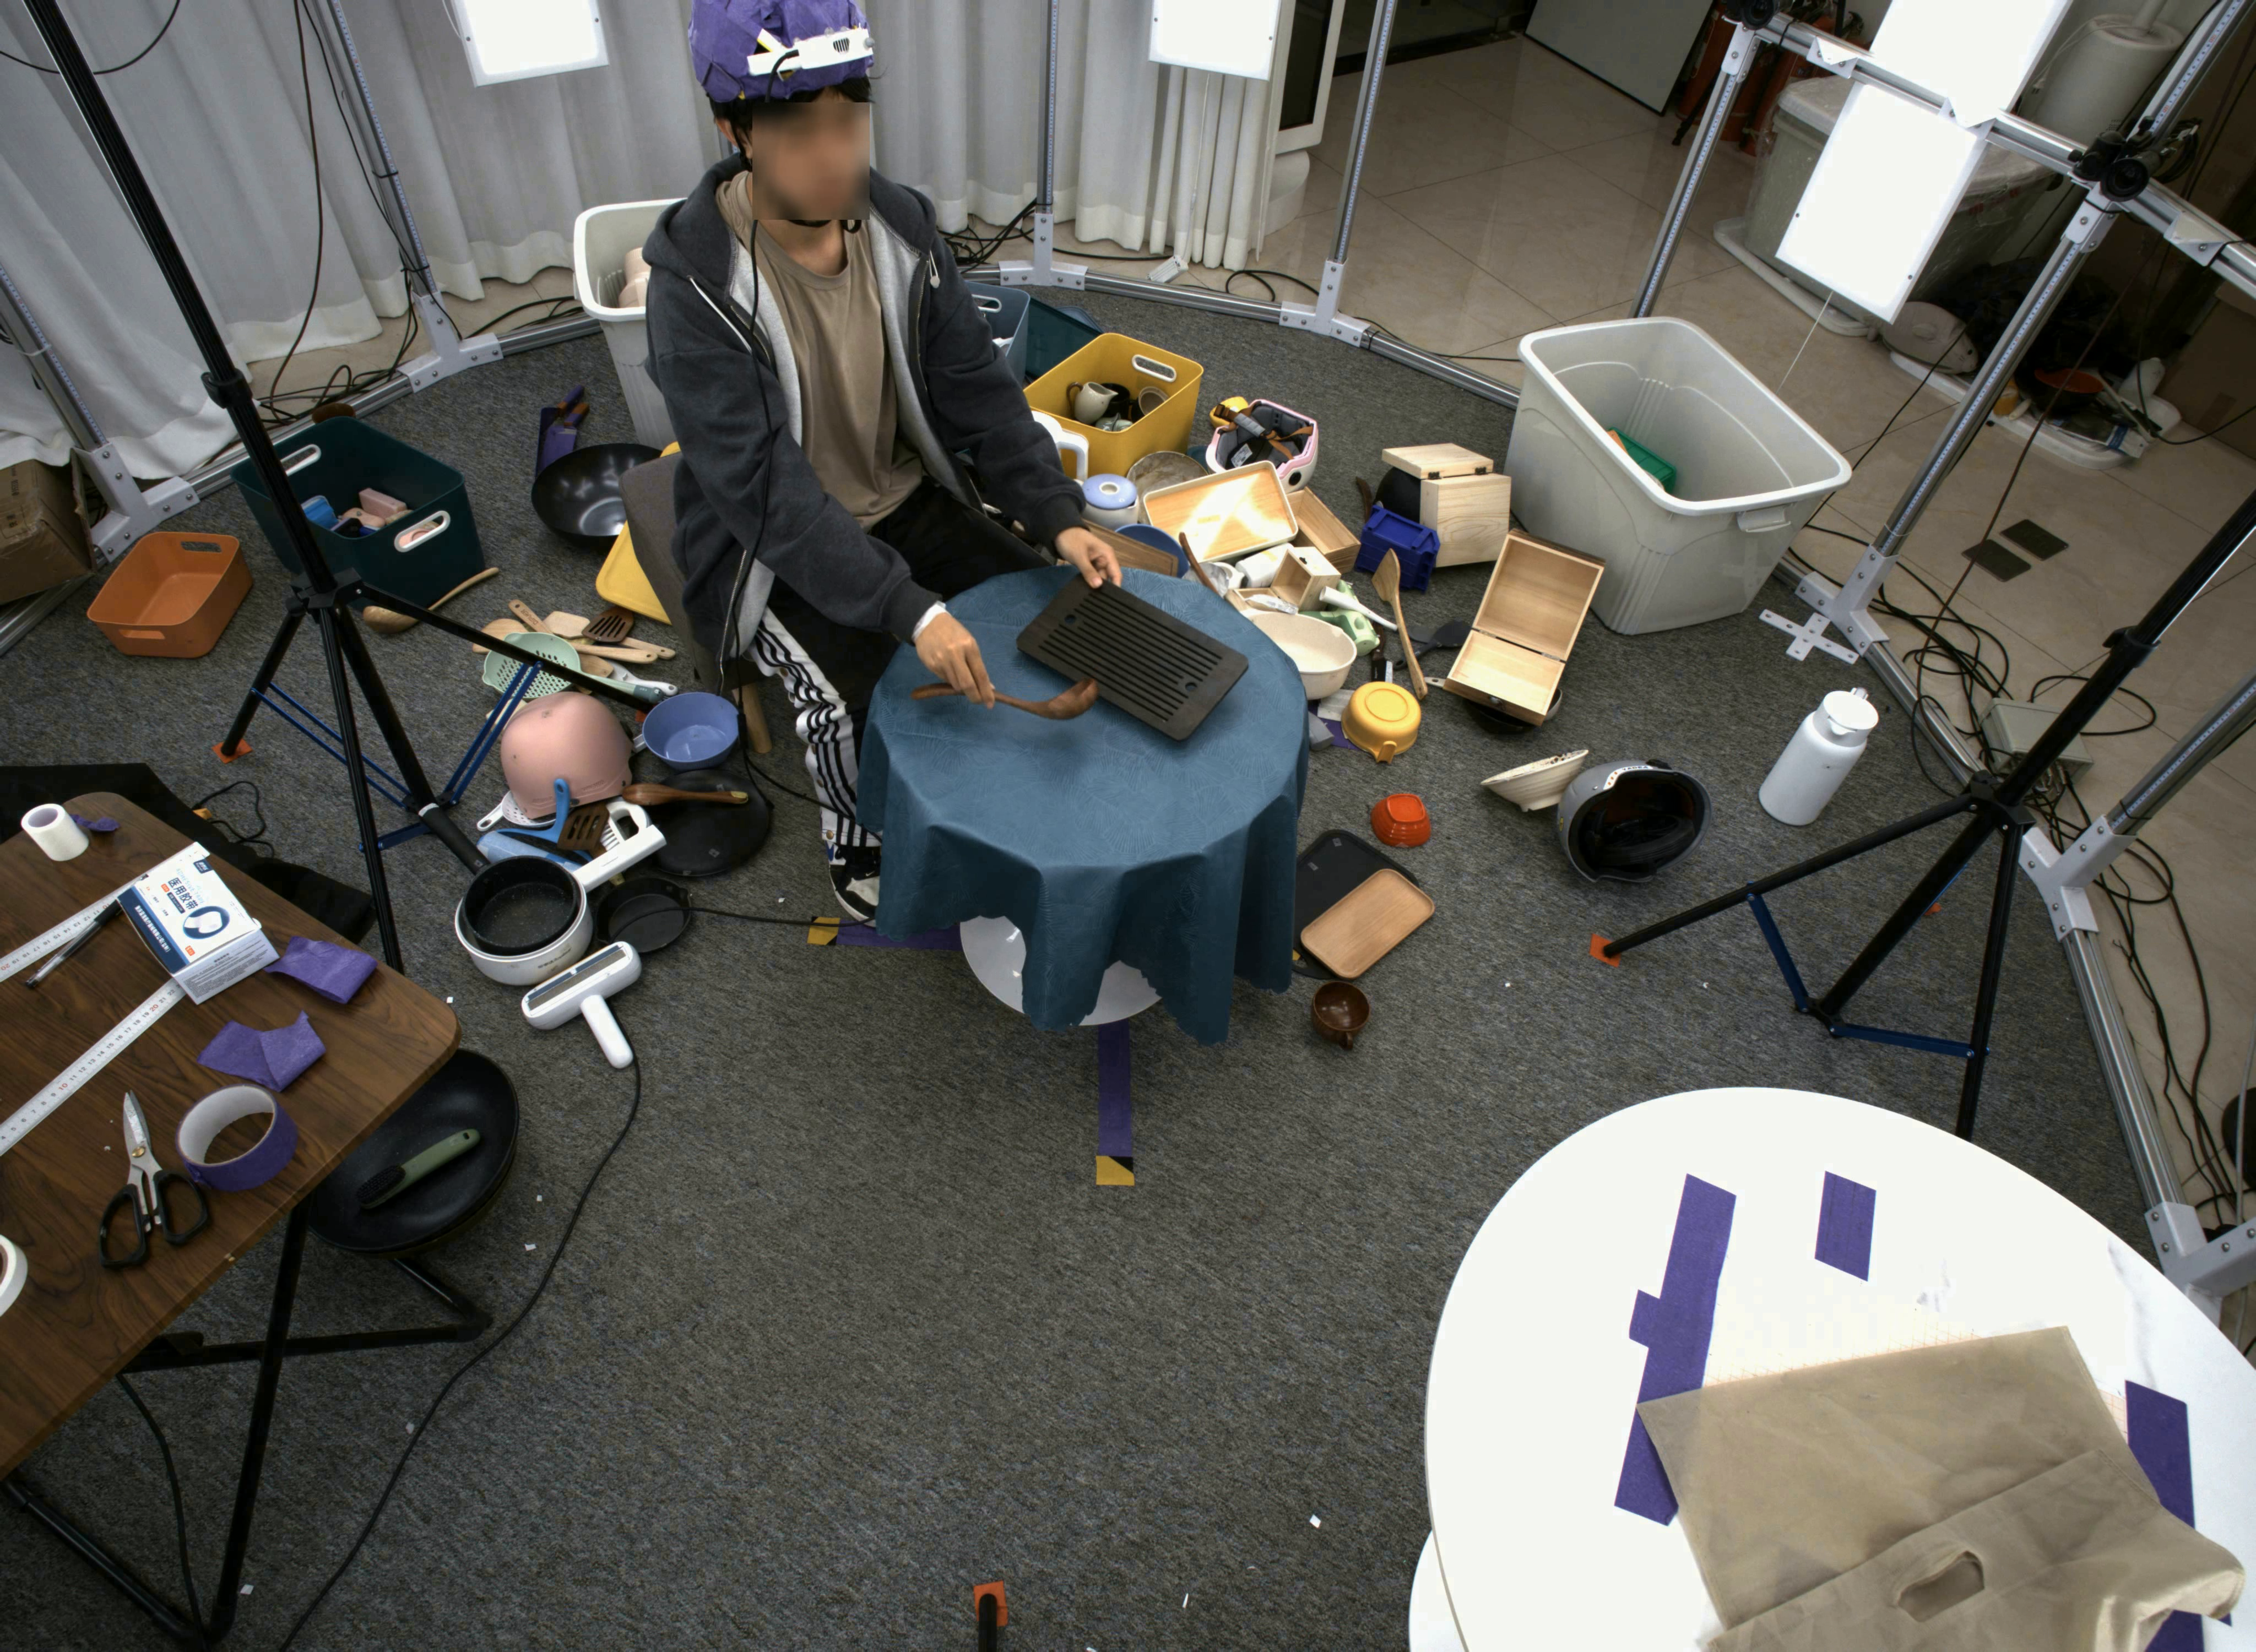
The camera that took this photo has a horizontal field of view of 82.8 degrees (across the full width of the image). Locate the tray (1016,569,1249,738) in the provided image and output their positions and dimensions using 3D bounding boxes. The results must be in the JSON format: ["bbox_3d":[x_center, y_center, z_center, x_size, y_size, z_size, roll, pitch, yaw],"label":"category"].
[{"bbox_3d":[0.004,-0.249,1.835,0.309,0.018,0.172,32,66,23],"label":"tray"}]

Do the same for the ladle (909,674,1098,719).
[{"bbox_3d":[-0.169,-0.187,1.733,0.260,0.064,0.078,8,26,8],"label":"ladle"}]
